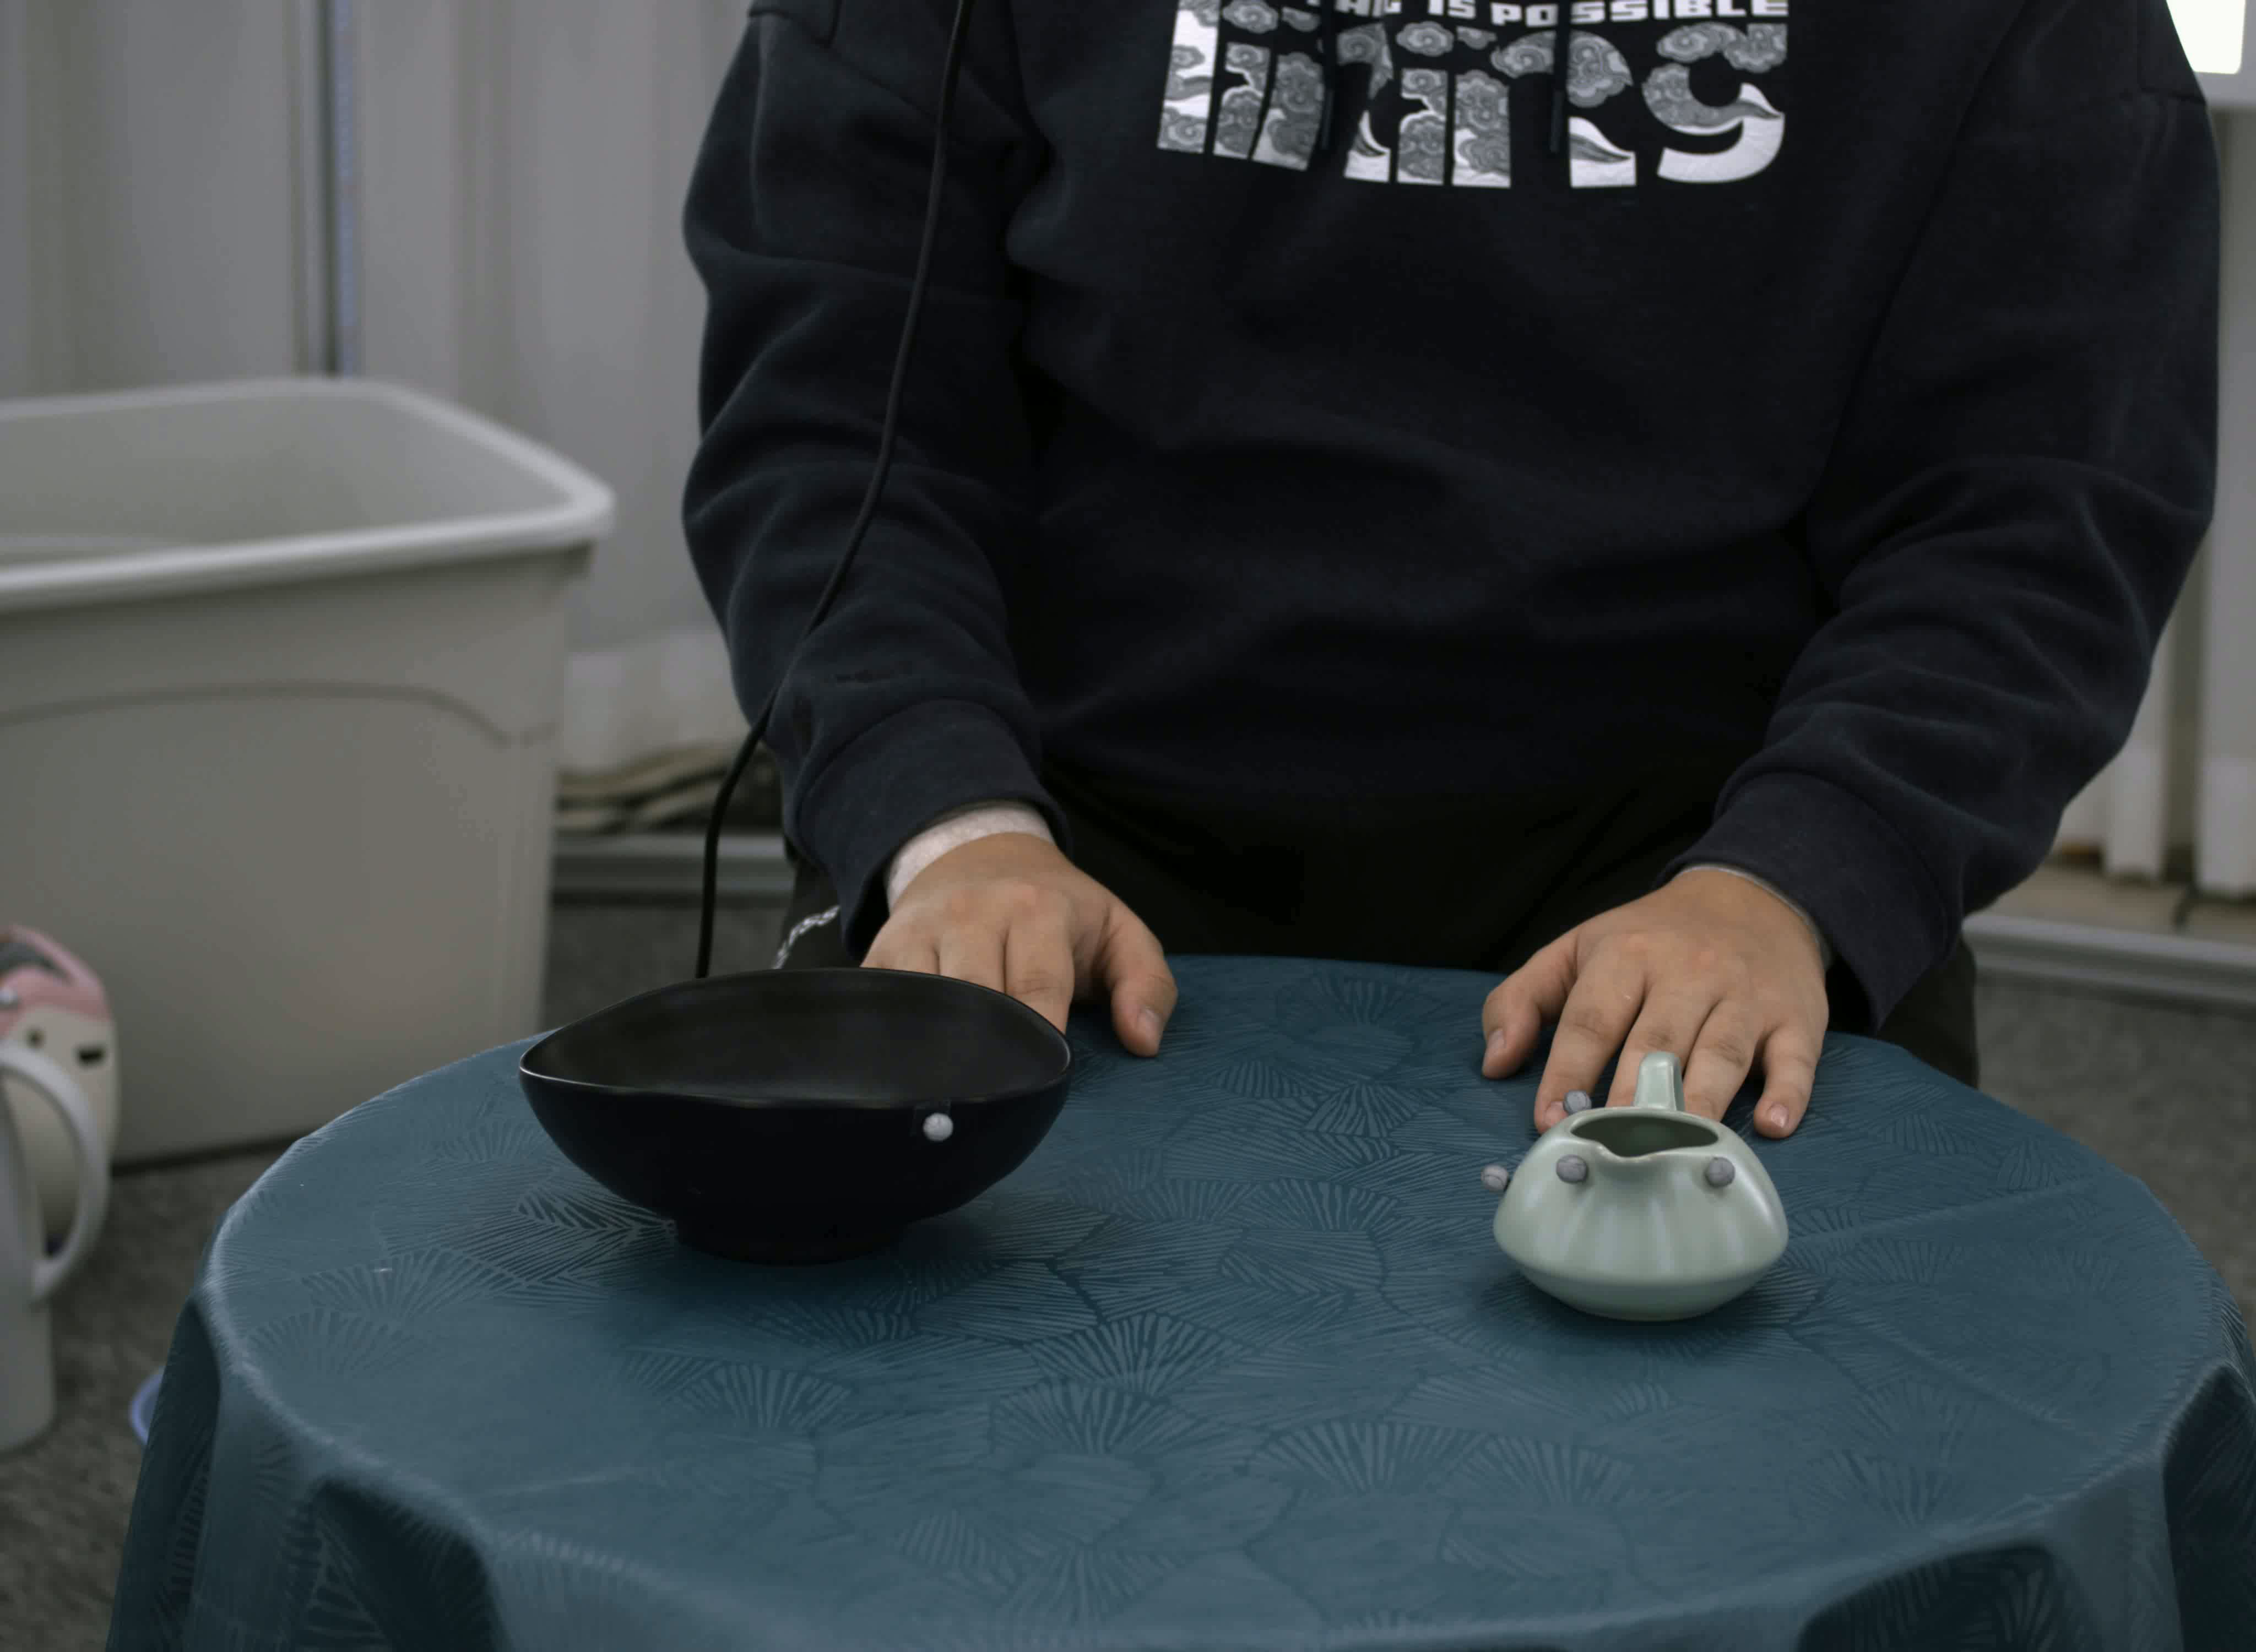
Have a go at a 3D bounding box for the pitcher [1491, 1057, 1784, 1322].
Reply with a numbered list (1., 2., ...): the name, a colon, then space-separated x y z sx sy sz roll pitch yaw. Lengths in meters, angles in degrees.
1. pitcher: 0.151 0.107 1.549 0.085 0.061 0.108 4 14 9

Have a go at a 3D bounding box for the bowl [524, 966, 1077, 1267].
1. bowl: -0.099 0.092 1.579 0.169 0.067 0.137 3 15 11
